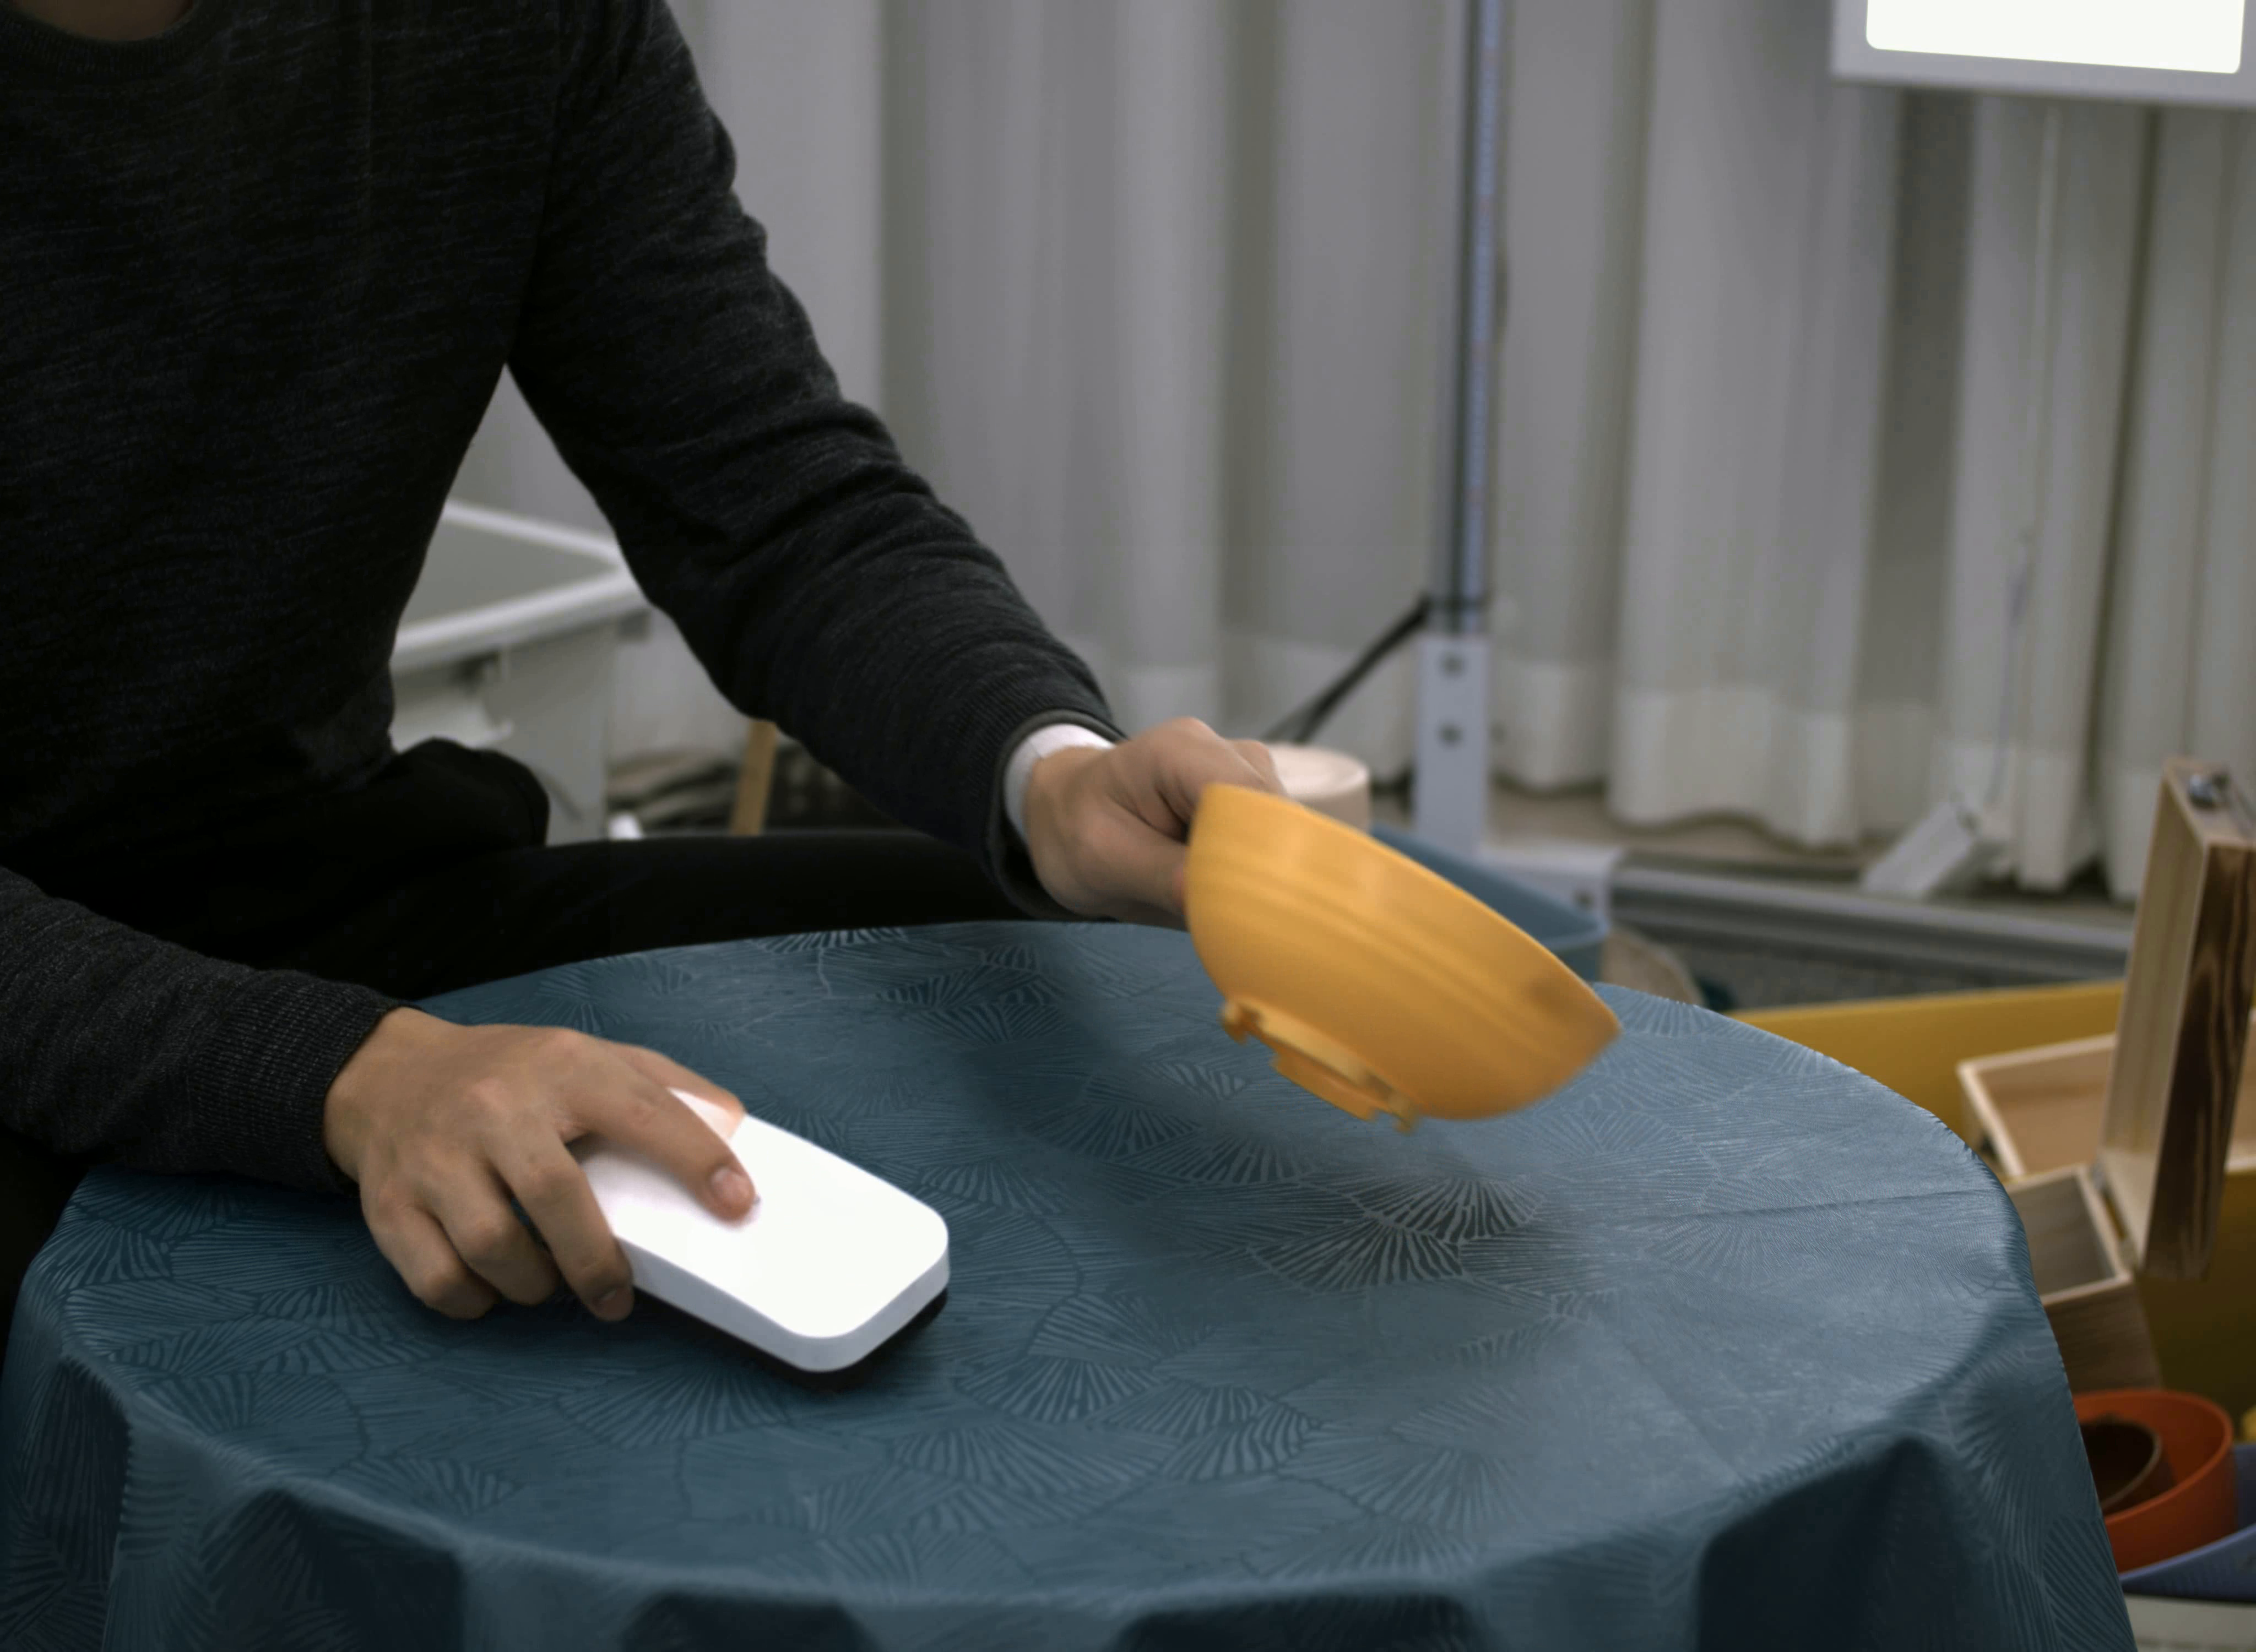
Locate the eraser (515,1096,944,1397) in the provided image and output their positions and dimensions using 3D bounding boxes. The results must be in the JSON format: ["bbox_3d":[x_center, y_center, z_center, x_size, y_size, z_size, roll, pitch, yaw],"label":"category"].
[{"bbox_3d":[-0.112,0.116,1.496,0.129,0.035,0.063,23,44,36],"label":"eraser"}]

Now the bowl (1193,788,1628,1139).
[{"bbox_3d":[0.073,0.051,1.569,0.145,0.060,0.146,30,-8,5],"label":"bowl"}]
